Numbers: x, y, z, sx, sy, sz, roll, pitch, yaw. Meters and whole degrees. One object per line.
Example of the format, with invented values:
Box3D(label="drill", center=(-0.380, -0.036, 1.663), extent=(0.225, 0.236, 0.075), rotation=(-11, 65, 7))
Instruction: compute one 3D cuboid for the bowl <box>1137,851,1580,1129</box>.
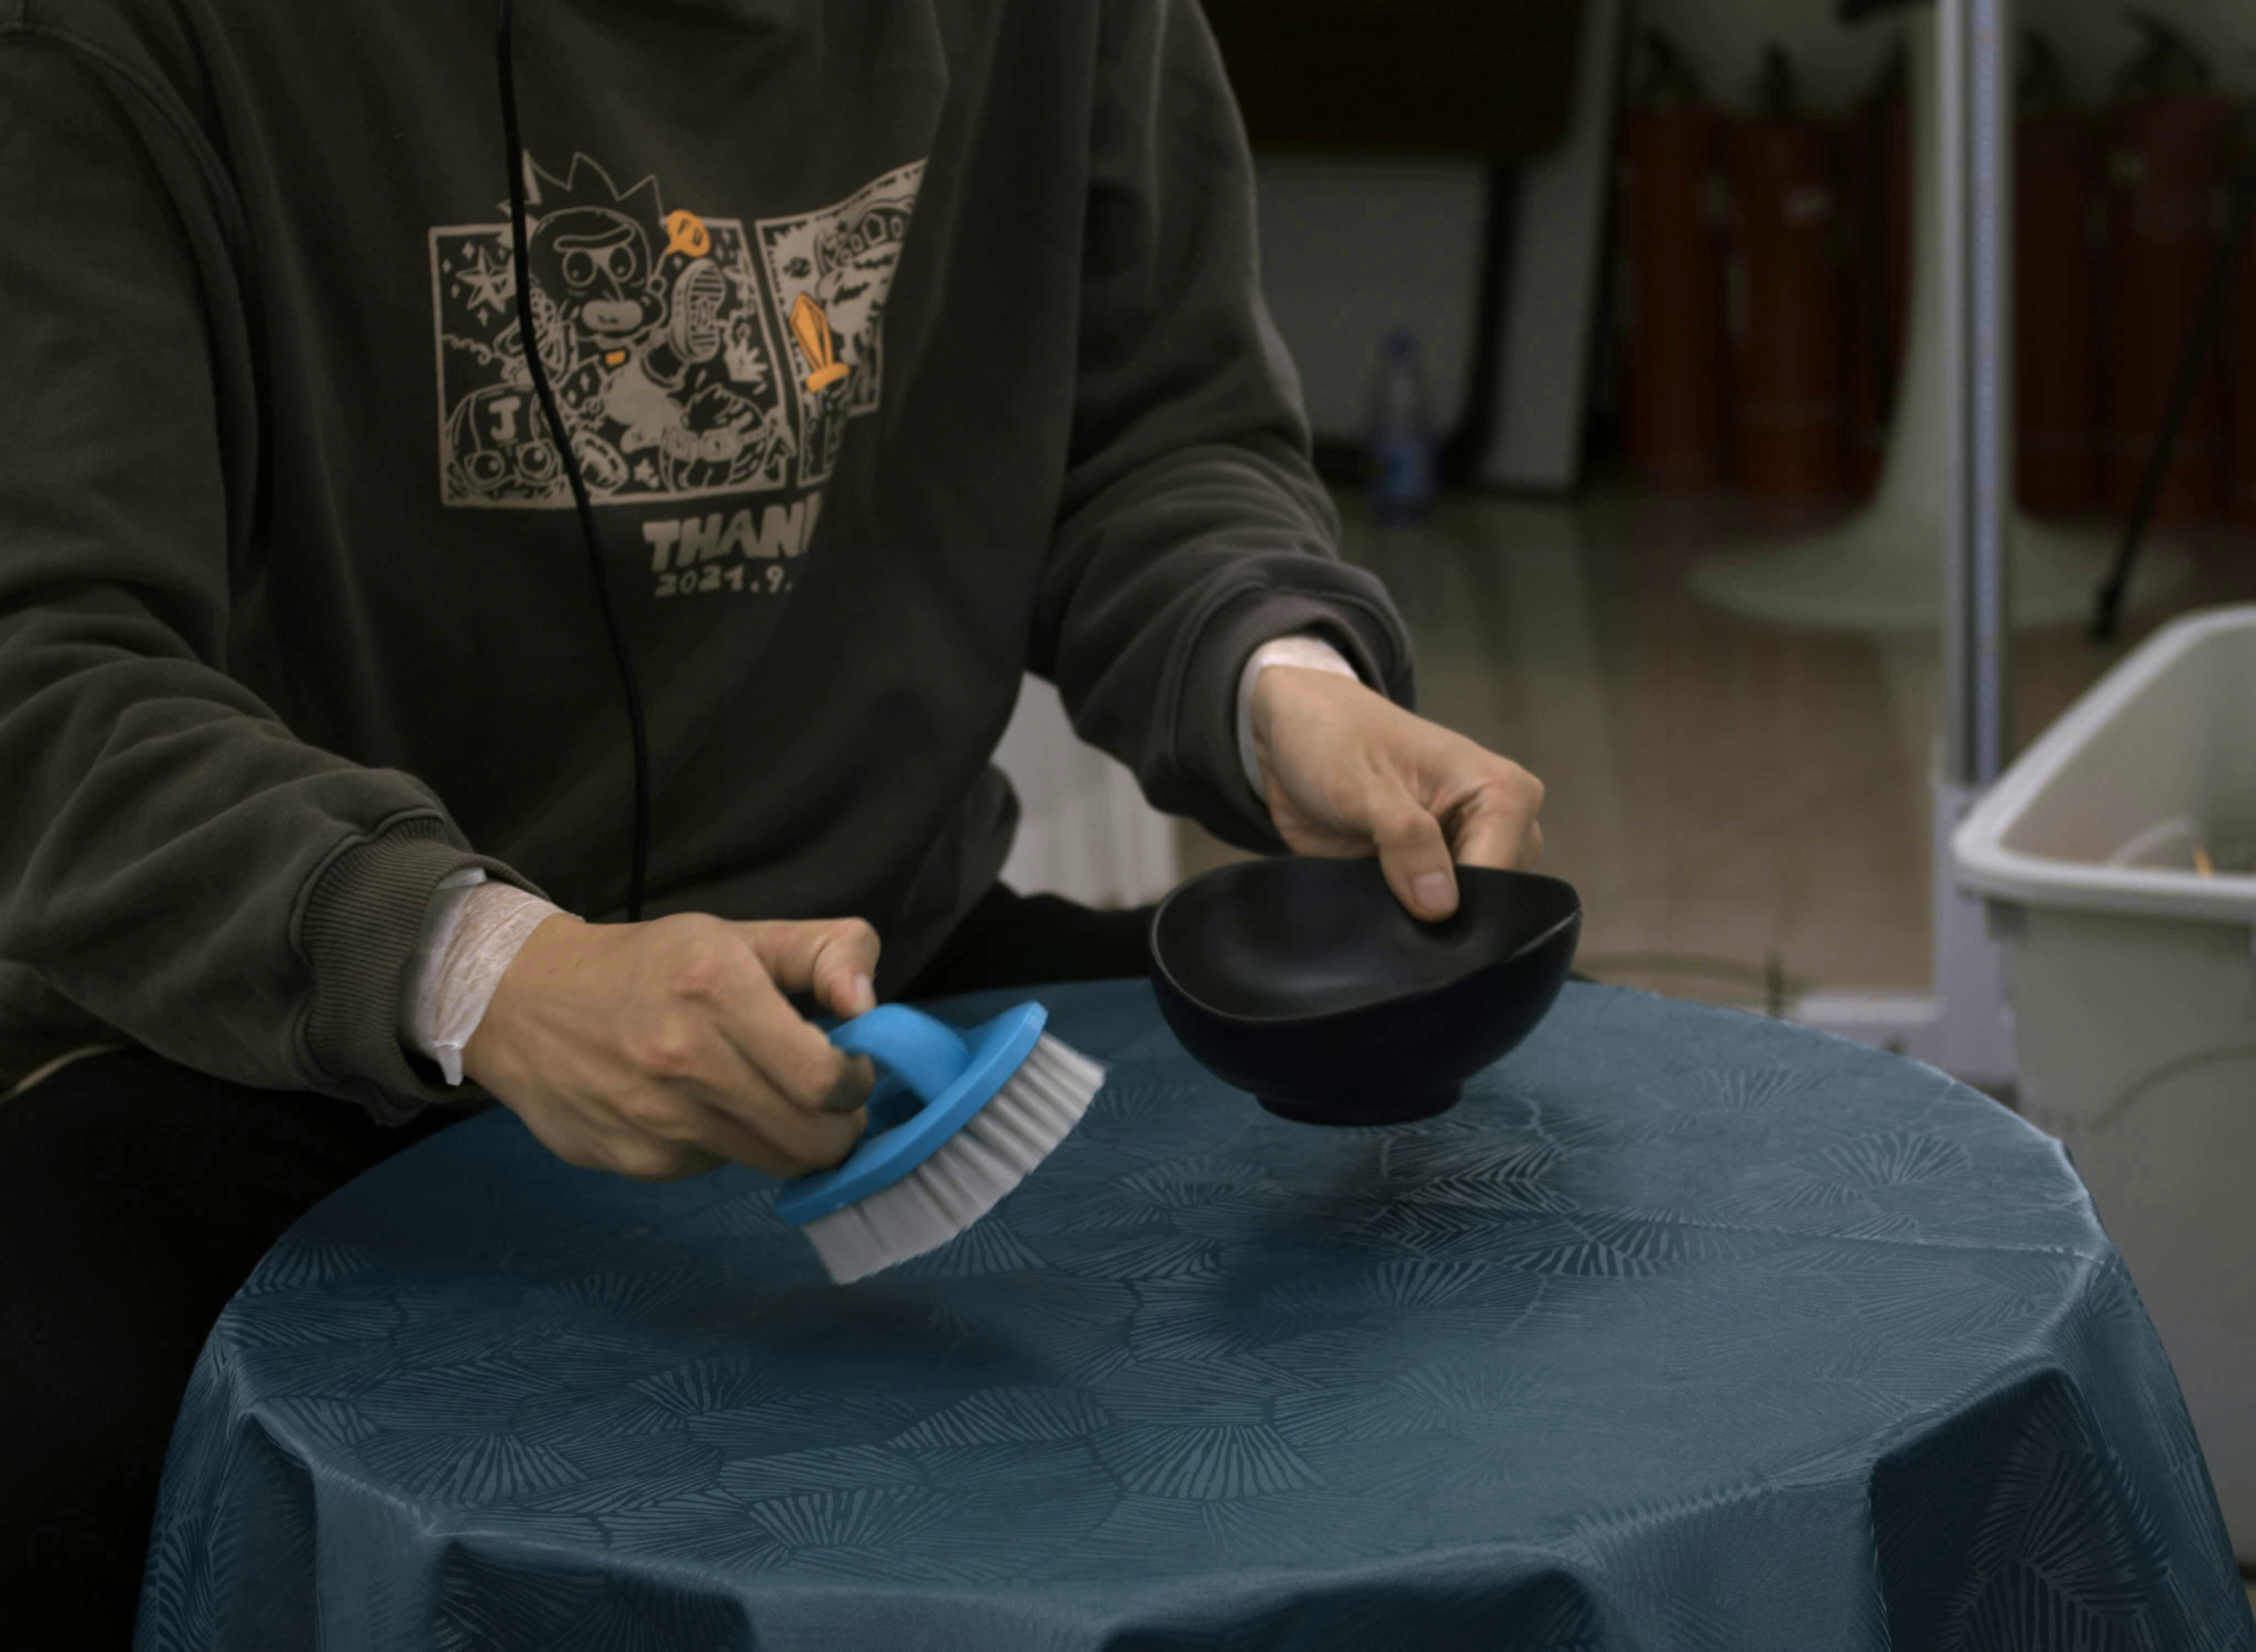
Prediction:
Box3D(label="bowl", center=(0.074, 0.056, 1.725), extent=(0.137, 0.067, 0.168), rotation=(4, 16, 26))

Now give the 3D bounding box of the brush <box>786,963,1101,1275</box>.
Box3D(label="brush", center=(-0.067, 0.080, 1.630), extent=(0.084, 0.063, 0.143), rotation=(-52, 8, -25))
